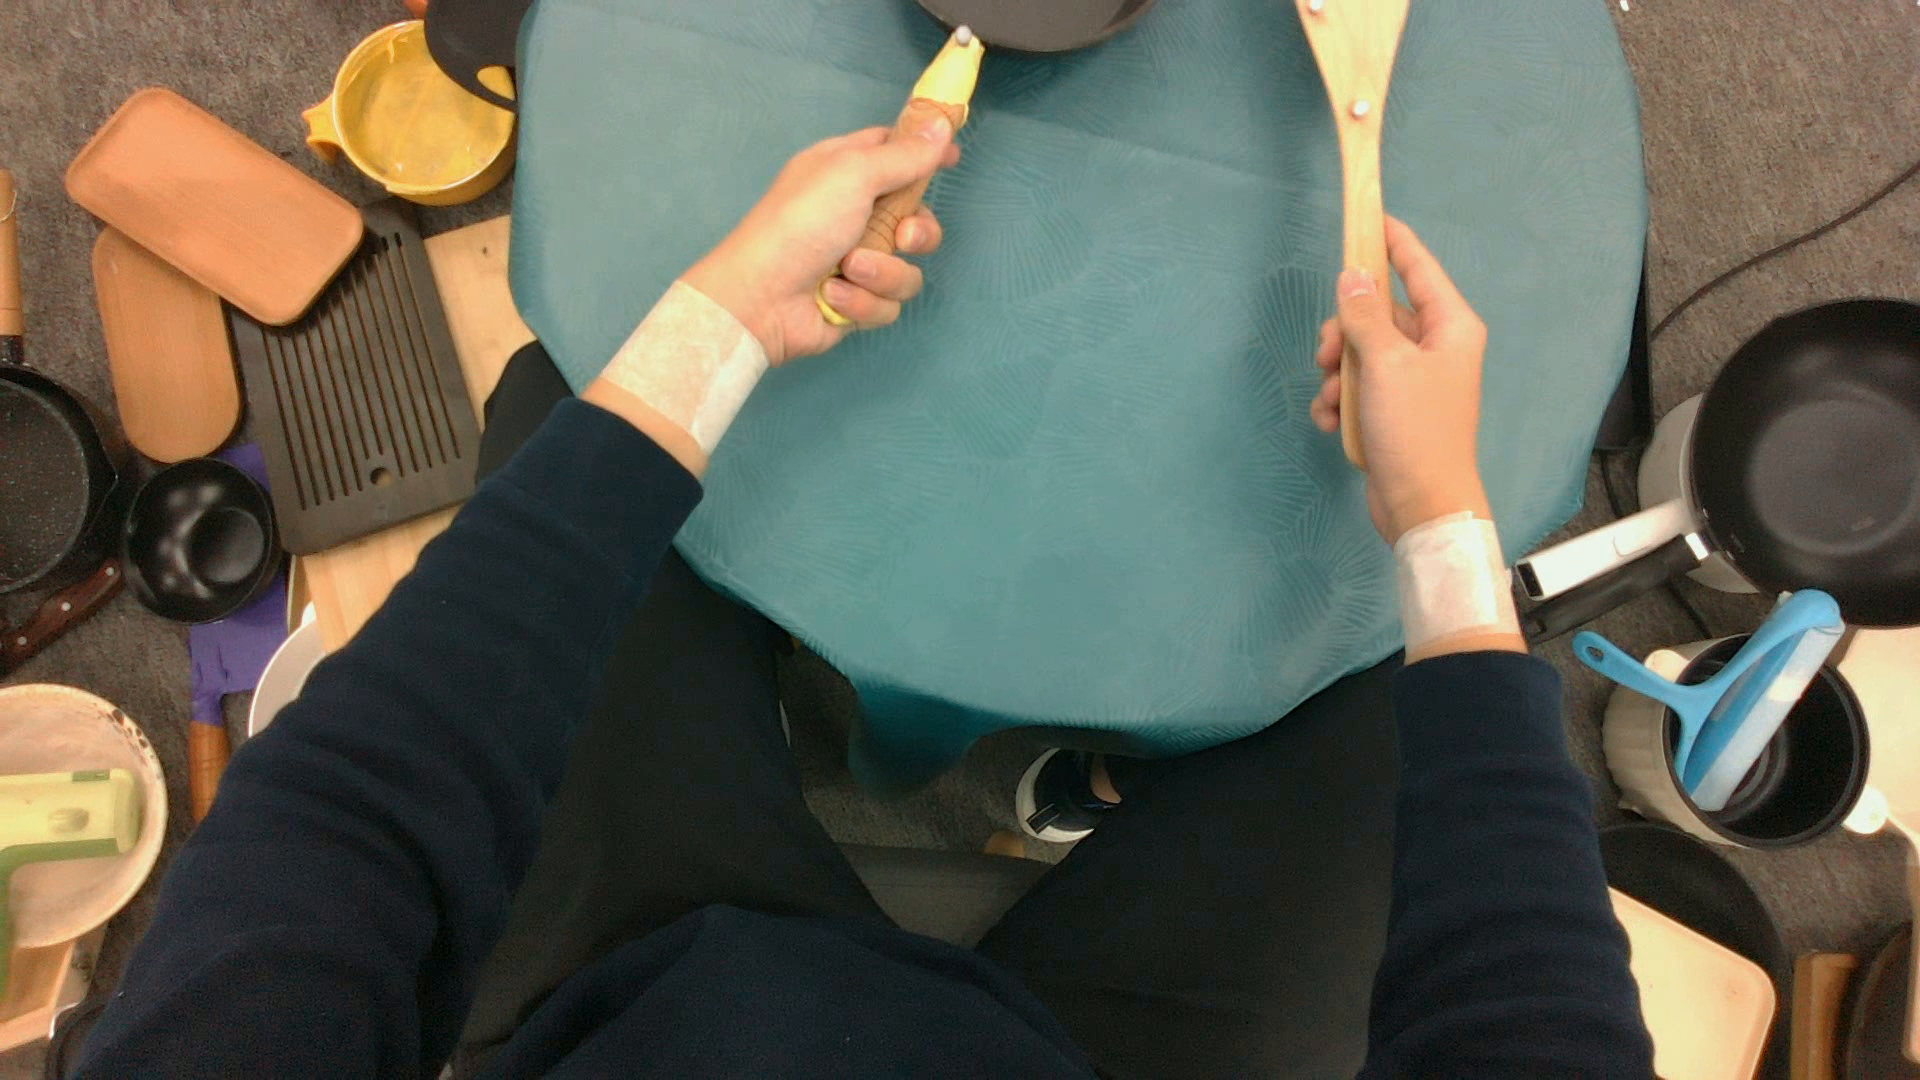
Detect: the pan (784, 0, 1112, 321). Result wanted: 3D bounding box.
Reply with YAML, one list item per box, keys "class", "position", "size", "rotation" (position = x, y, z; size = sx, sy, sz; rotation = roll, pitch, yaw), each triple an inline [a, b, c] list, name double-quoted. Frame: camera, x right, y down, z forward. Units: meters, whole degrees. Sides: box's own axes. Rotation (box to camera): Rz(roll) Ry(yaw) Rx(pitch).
- class: "pan"
  position: [-0.018, -0.241, 0.674]
  size: [0.169, 0.049, 0.325]
  rotation: [23, 71, -2]

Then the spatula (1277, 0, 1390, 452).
- class: "spatula"
  position: [0.190, -0.201, 0.688]
  size: [0.080, 0.016, 0.328]
  rotation: [5, 75, -13]
